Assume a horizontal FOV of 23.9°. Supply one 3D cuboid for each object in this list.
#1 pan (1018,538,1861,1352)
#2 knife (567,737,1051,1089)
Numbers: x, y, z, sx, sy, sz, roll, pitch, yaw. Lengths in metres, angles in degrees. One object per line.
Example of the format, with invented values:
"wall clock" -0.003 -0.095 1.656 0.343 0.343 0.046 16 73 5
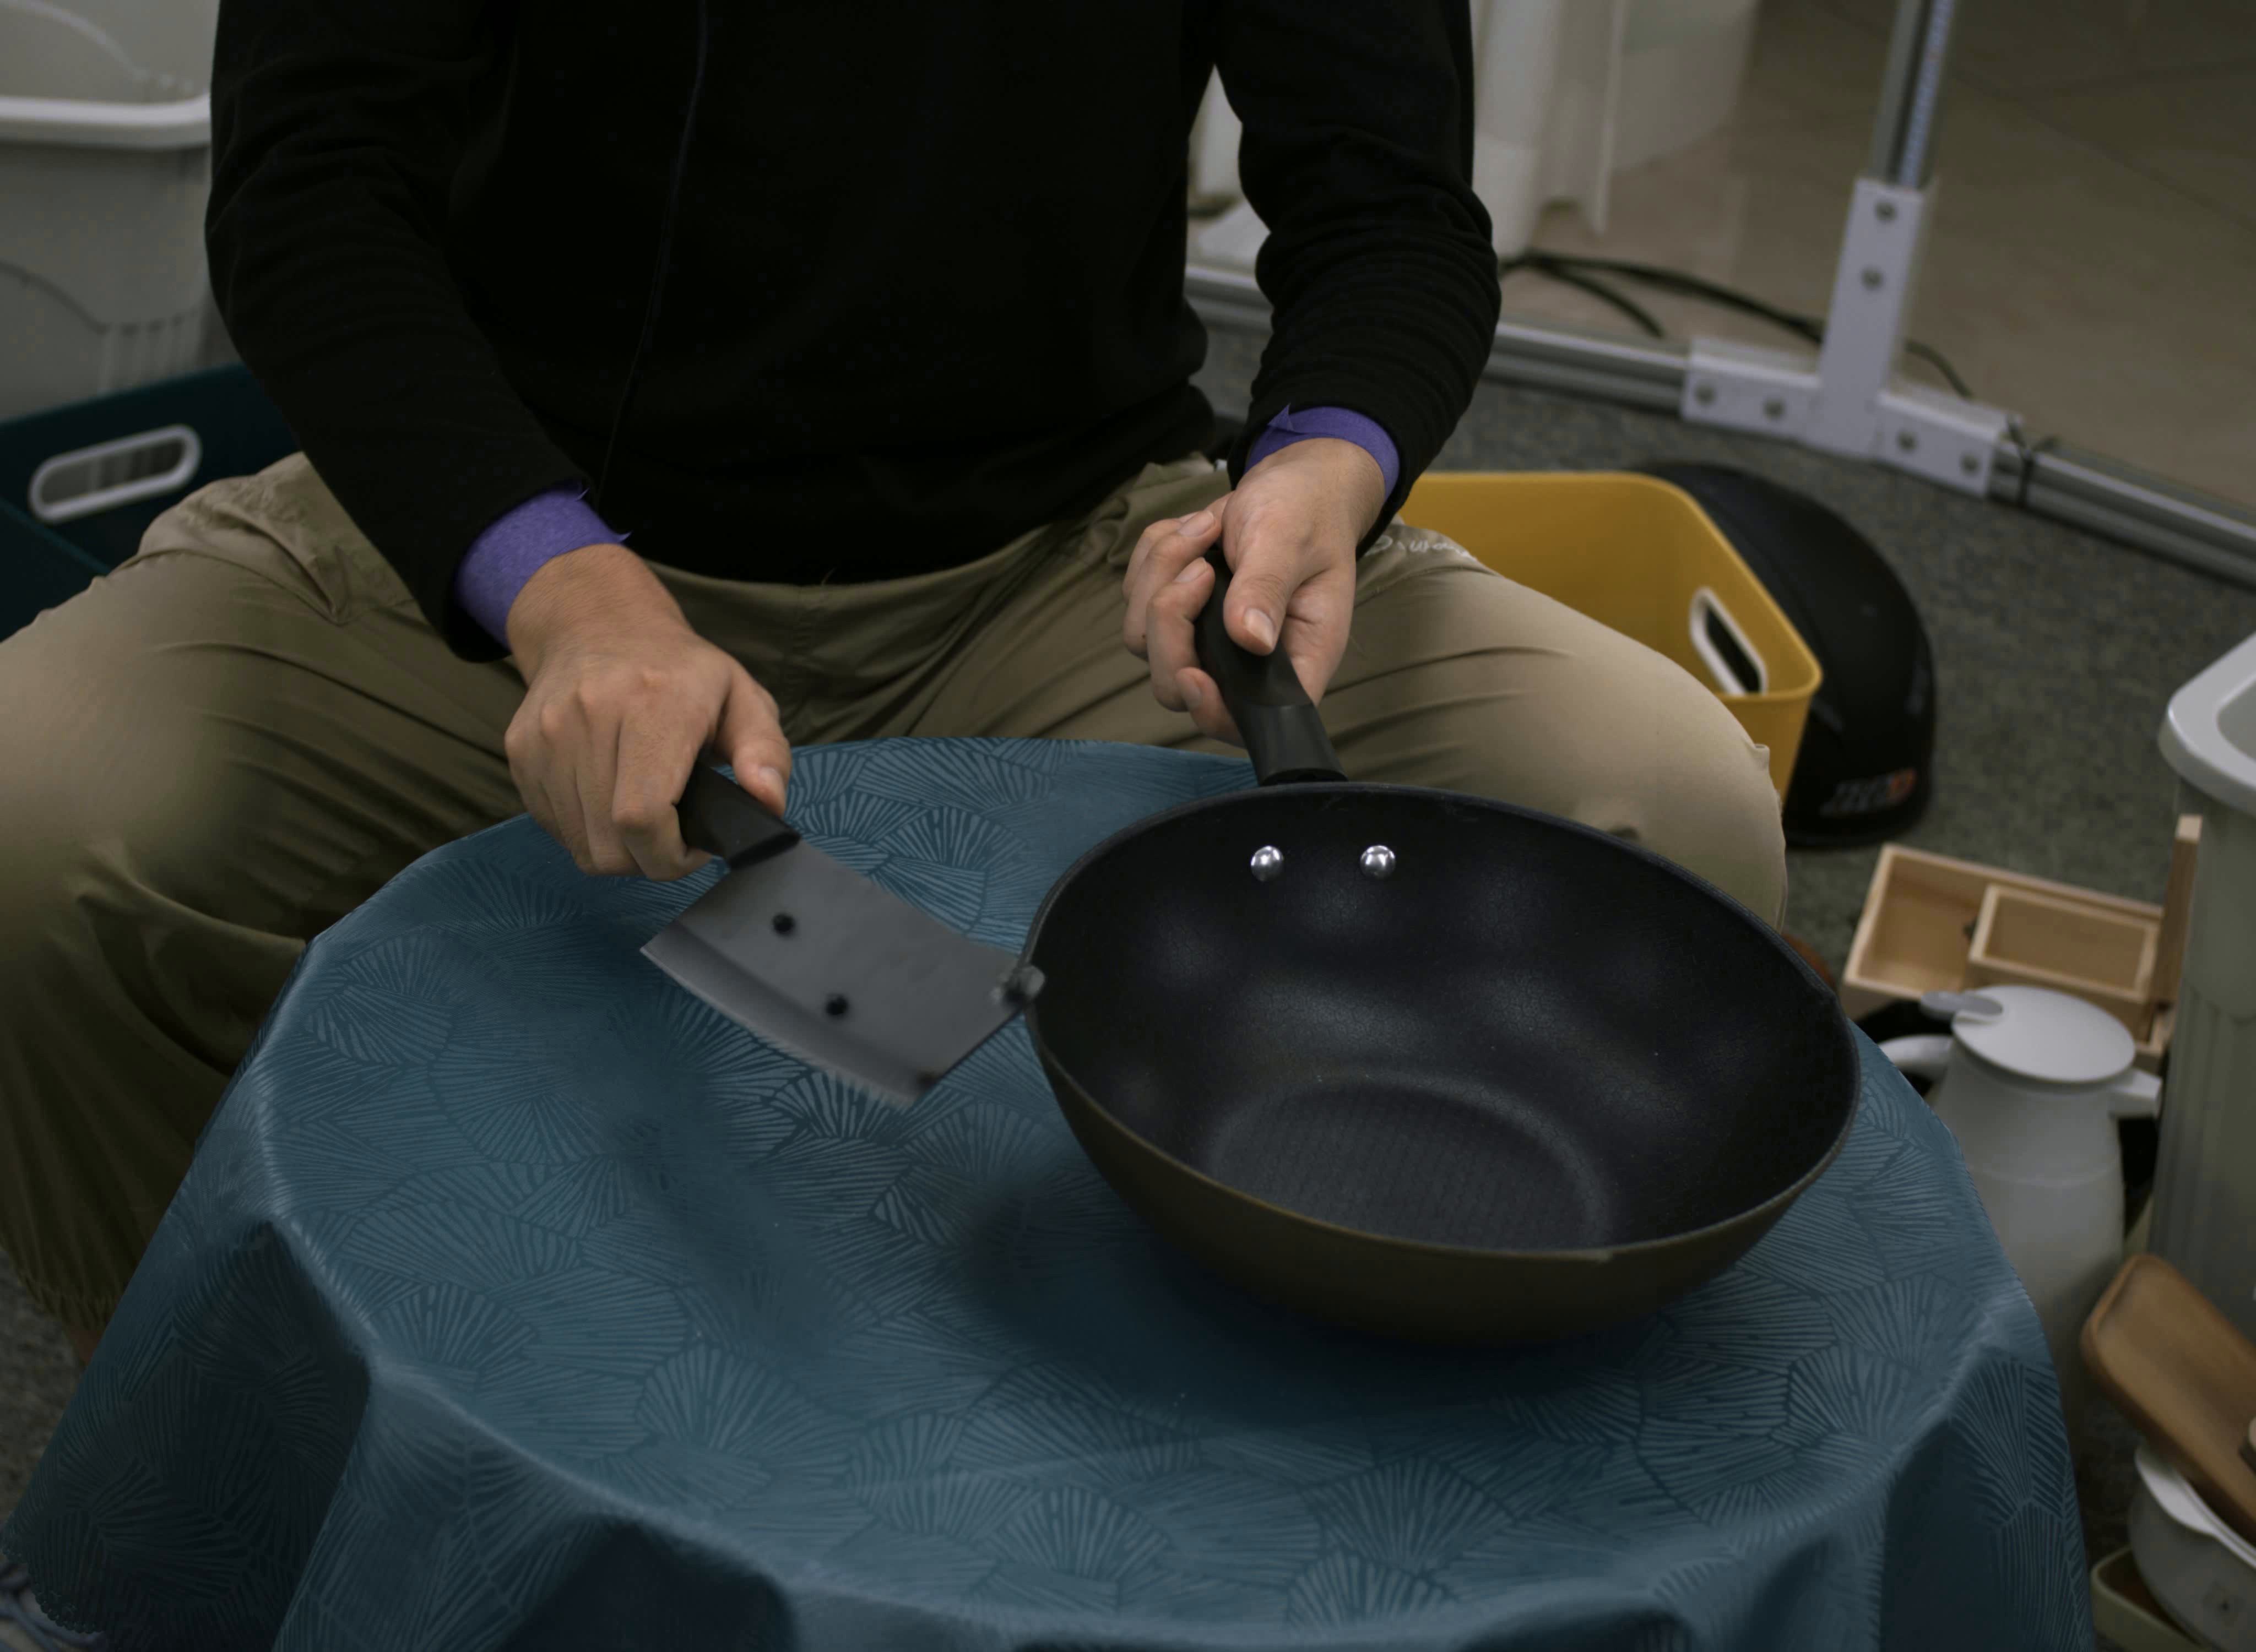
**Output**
"pan" 0.076 0.044 1.859 0.286 0.086 0.467 -1 32 -16
"knife" -0.120 0.025 1.793 0.081 0.020 0.305 -39 32 -11
